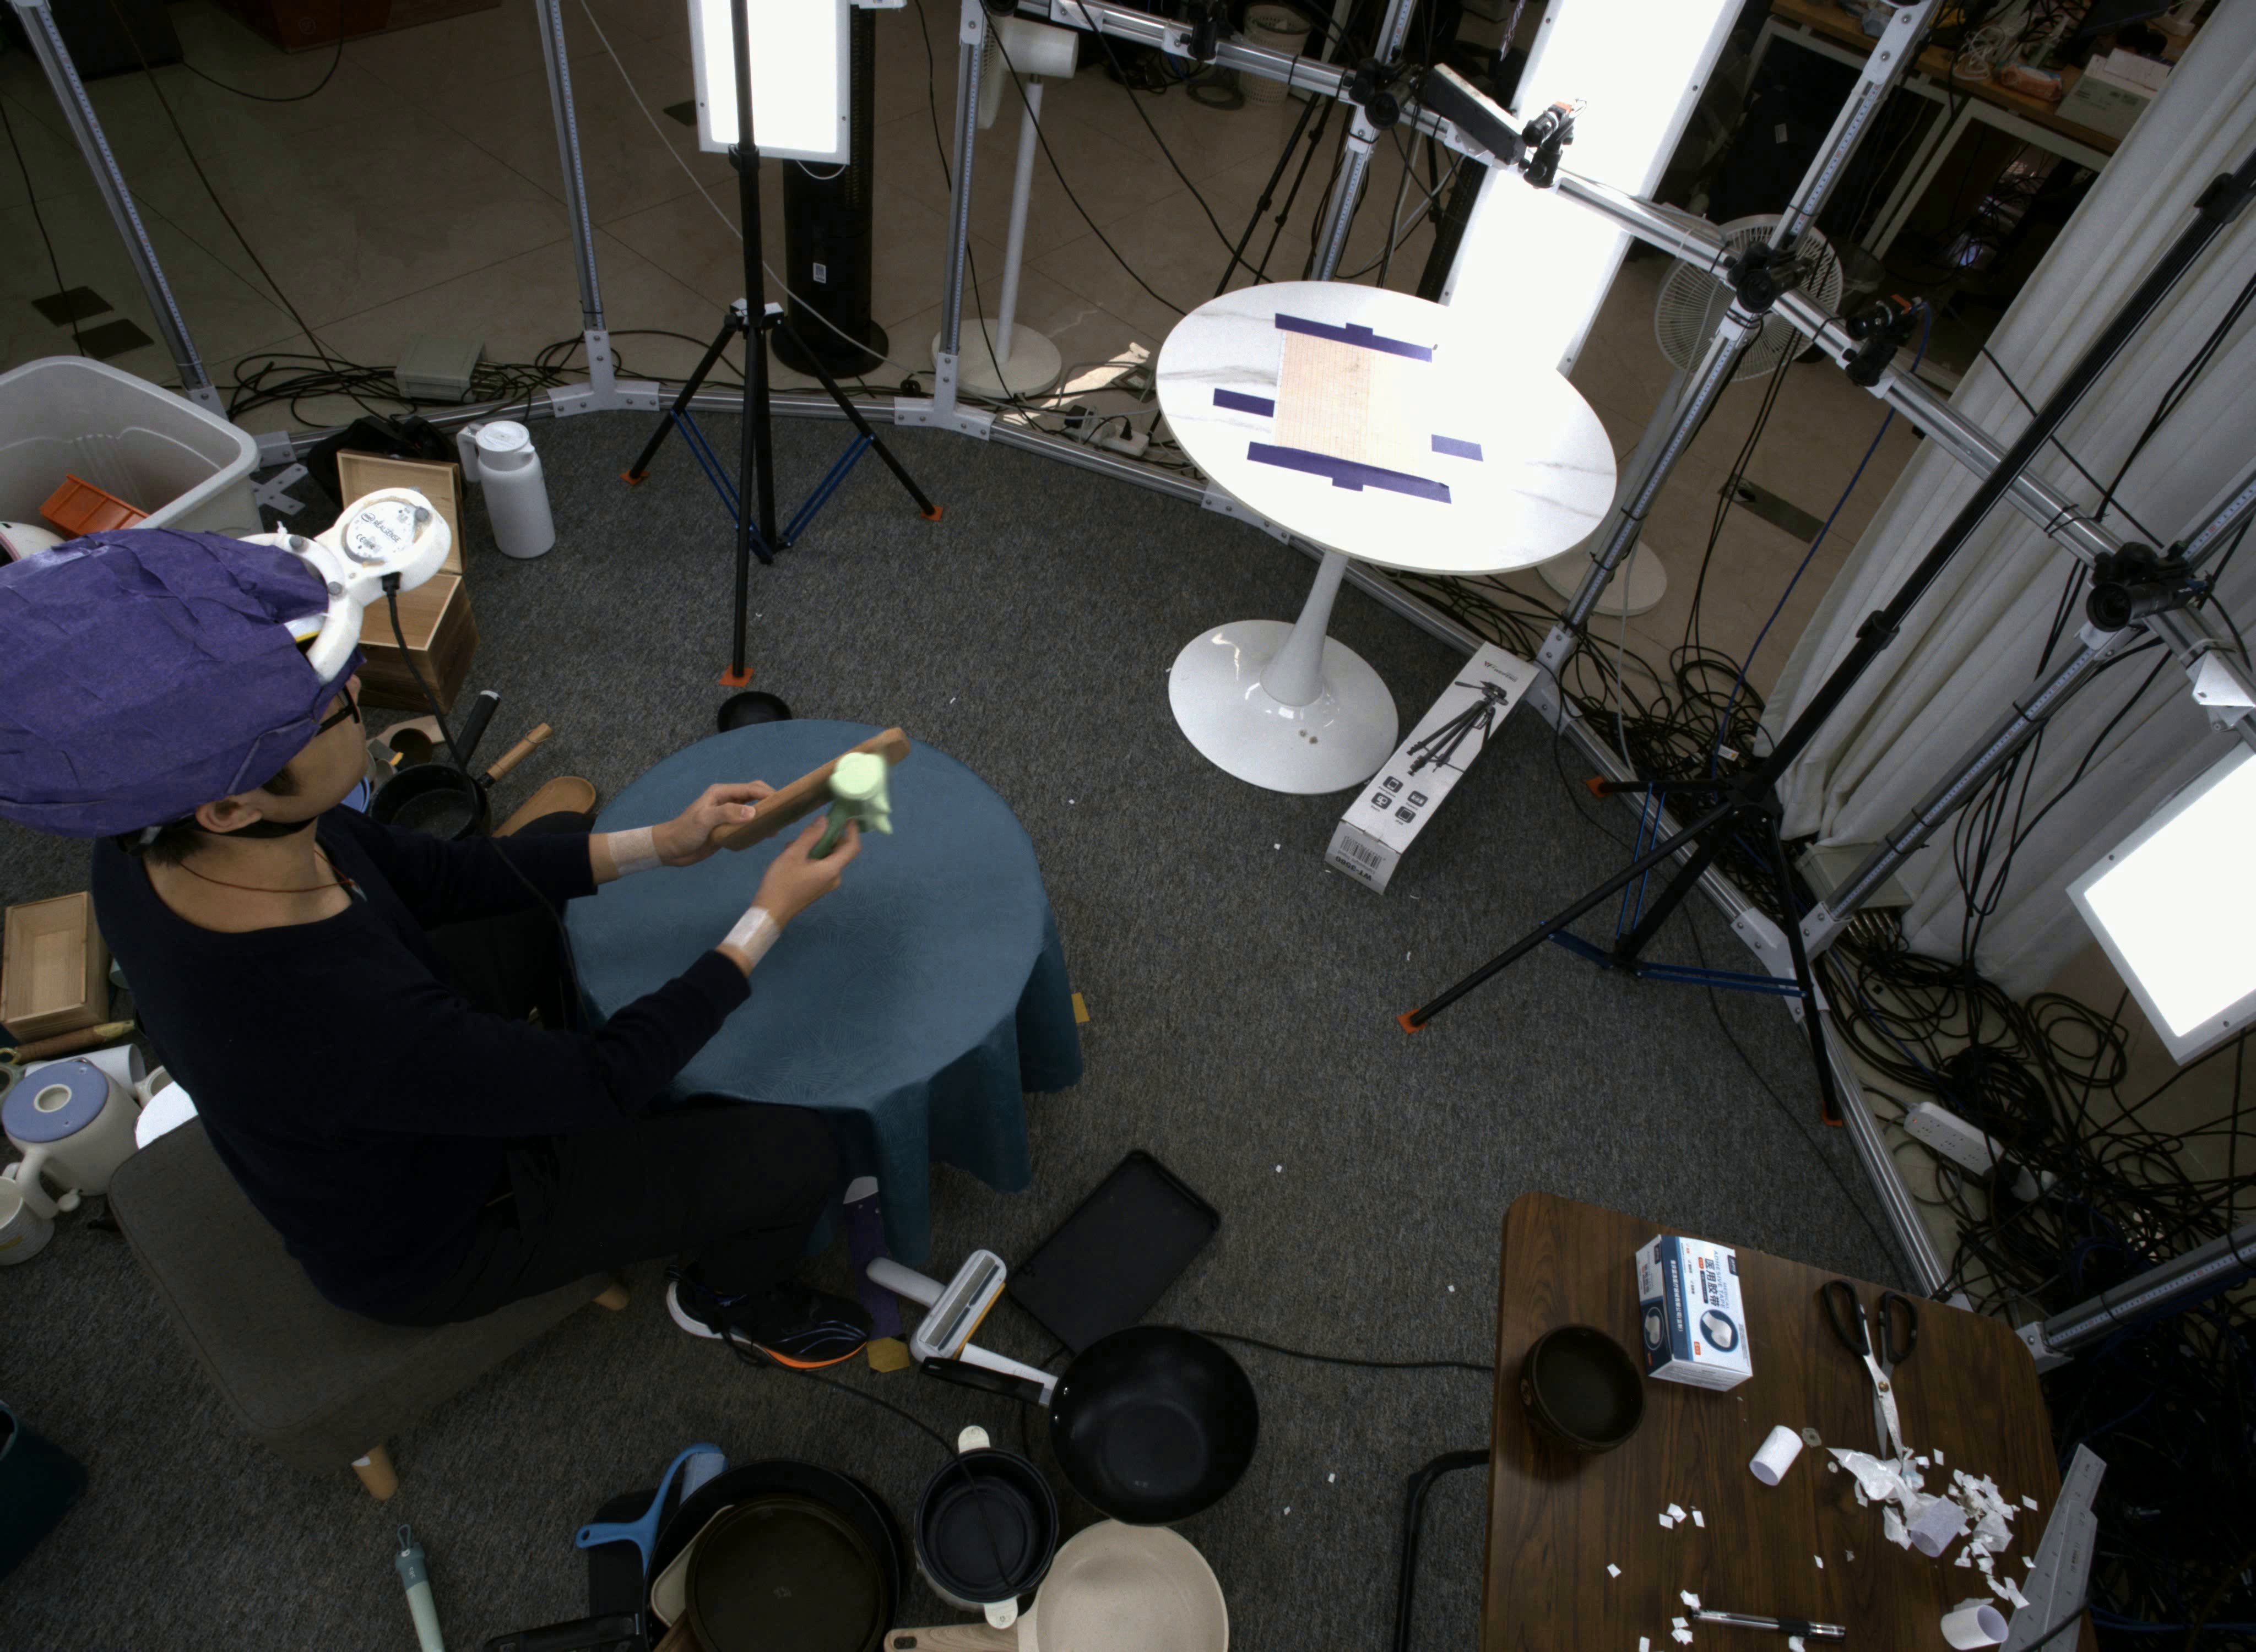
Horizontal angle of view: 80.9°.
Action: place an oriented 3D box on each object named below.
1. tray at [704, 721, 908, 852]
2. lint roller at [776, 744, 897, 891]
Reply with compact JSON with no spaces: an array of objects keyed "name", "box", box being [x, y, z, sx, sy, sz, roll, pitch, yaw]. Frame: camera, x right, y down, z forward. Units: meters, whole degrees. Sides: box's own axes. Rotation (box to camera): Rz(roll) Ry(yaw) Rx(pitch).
[{"name":"tray","box":[-0.367,-0.043,1.496,0.250,0.131,0.023,-32,81,-6]},{"name":"lint roller","box":[-0.322,0.007,1.480,0.082,0.199,0.183,29,76,-2]}]
